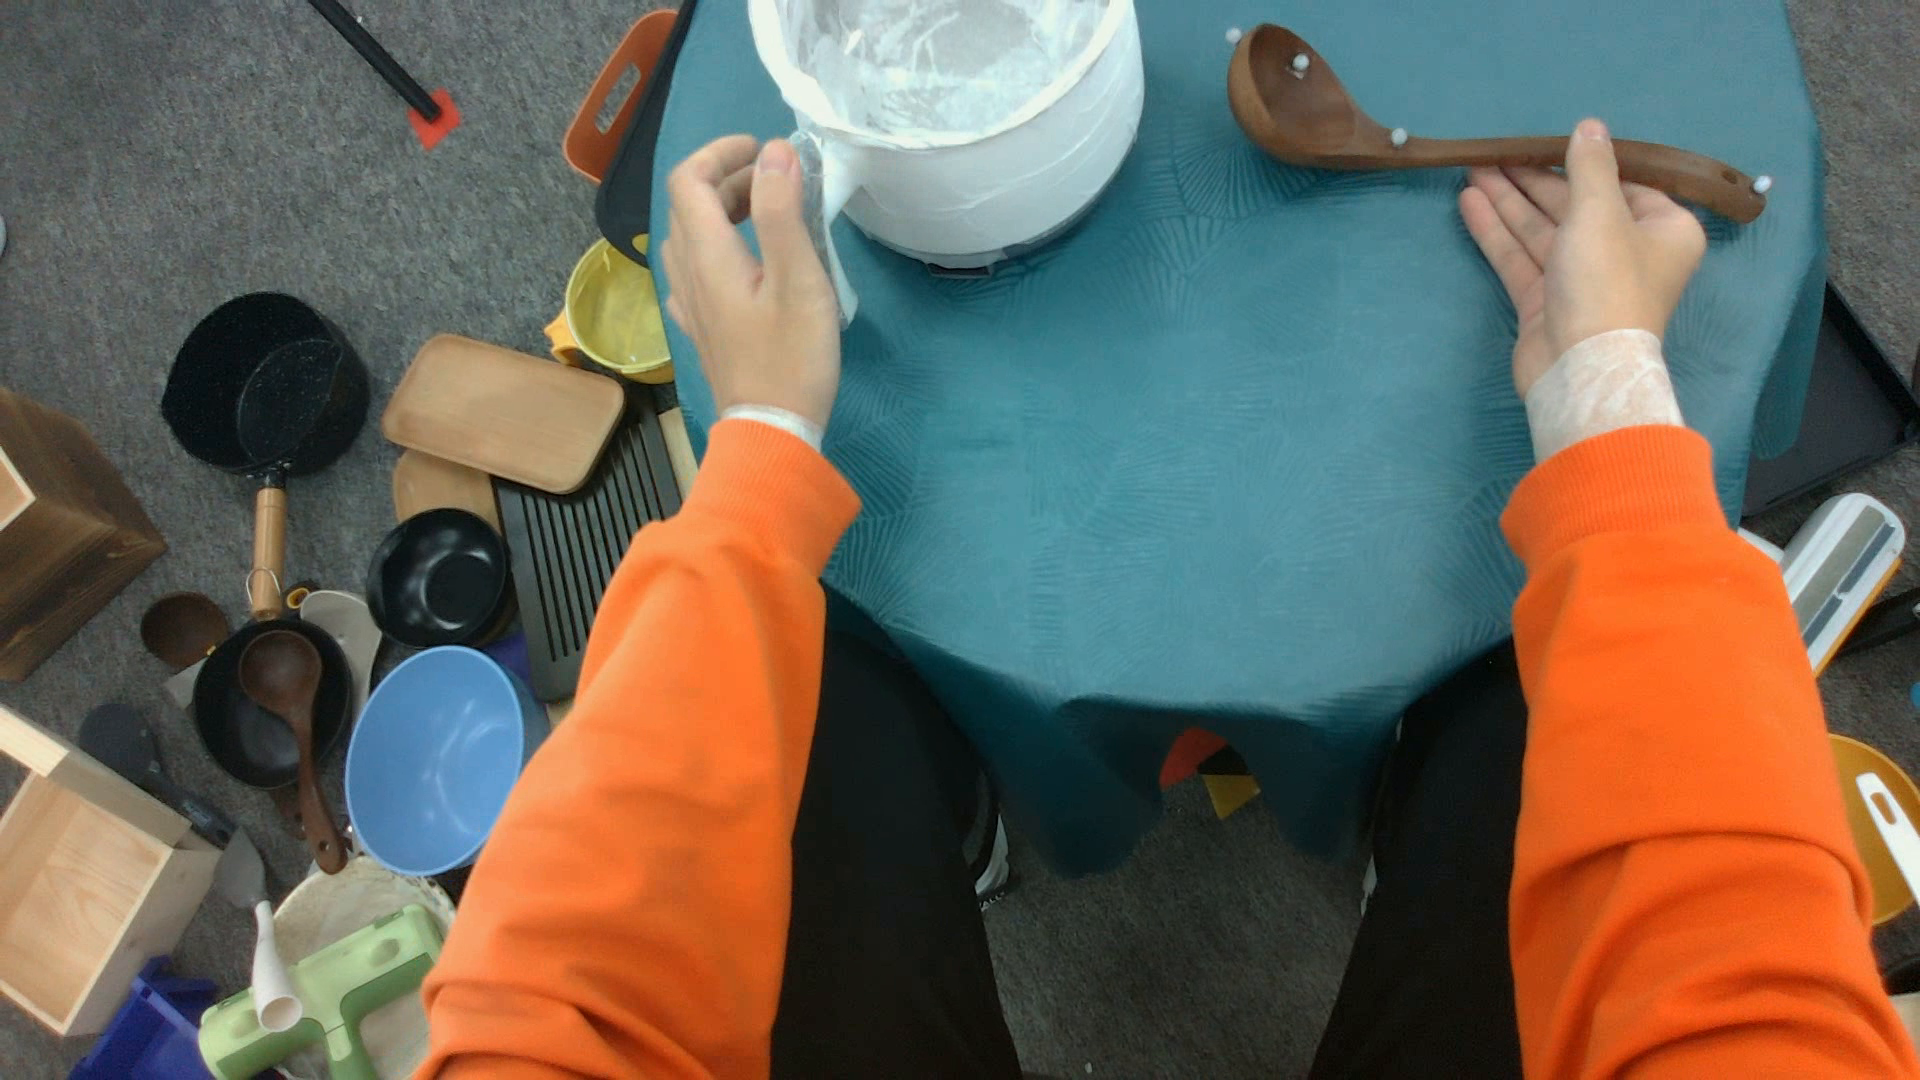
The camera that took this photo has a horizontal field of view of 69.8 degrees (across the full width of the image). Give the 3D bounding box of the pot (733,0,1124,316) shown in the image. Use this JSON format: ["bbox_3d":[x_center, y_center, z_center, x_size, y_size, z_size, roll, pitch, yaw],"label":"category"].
[{"bbox_3d":[-0.024,-0.223,0.679,0.179,0.136,0.234,32,81,16],"label":"pot"}]

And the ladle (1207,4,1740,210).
[{"bbox_3d":[0.249,-0.210,0.671,0.260,0.065,0.077,13,54,14],"label":"ladle"}]
